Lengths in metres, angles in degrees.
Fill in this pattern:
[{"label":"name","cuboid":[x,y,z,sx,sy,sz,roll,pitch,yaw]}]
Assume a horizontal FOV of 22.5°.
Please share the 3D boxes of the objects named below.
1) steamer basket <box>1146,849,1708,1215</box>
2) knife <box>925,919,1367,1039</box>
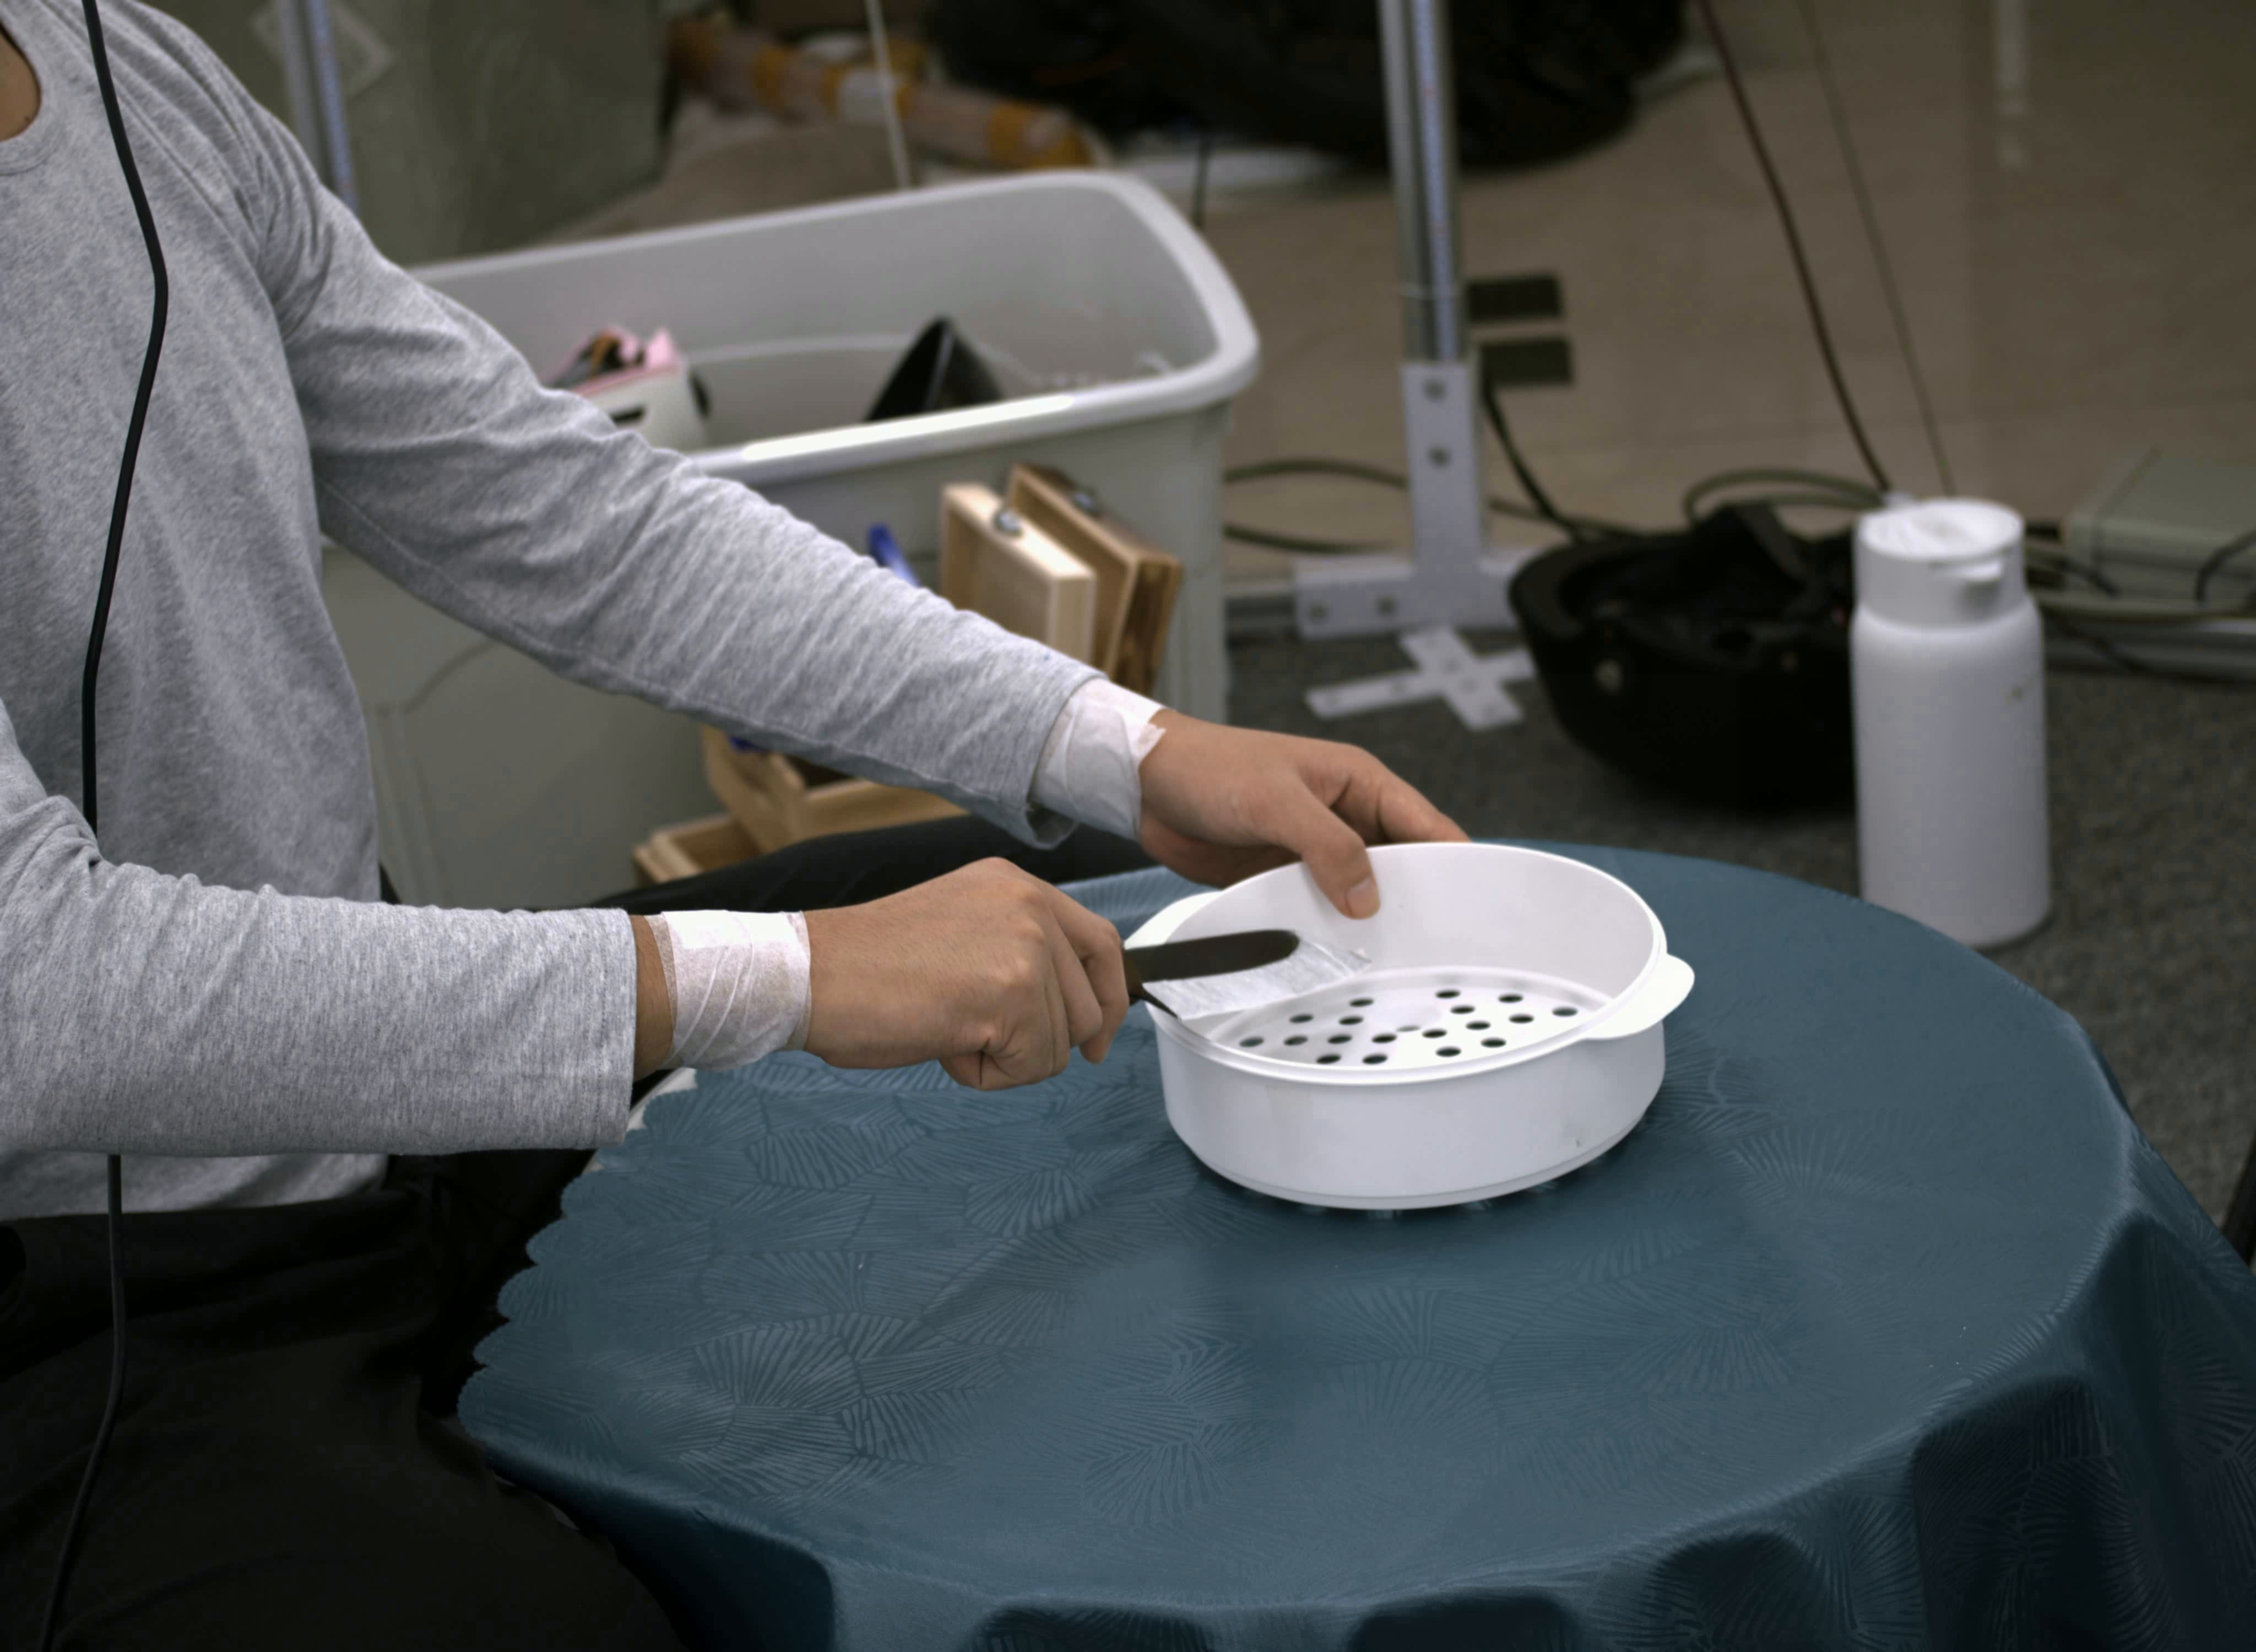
[{"label":"steamer basket","cuboid":[0.113,0.079,2.174,0.229,0.070,0.199,7,28,30]},{"label":"knife","cuboid":[0.013,0.056,2.112,0.050,0.020,0.288,40,23,25]}]
